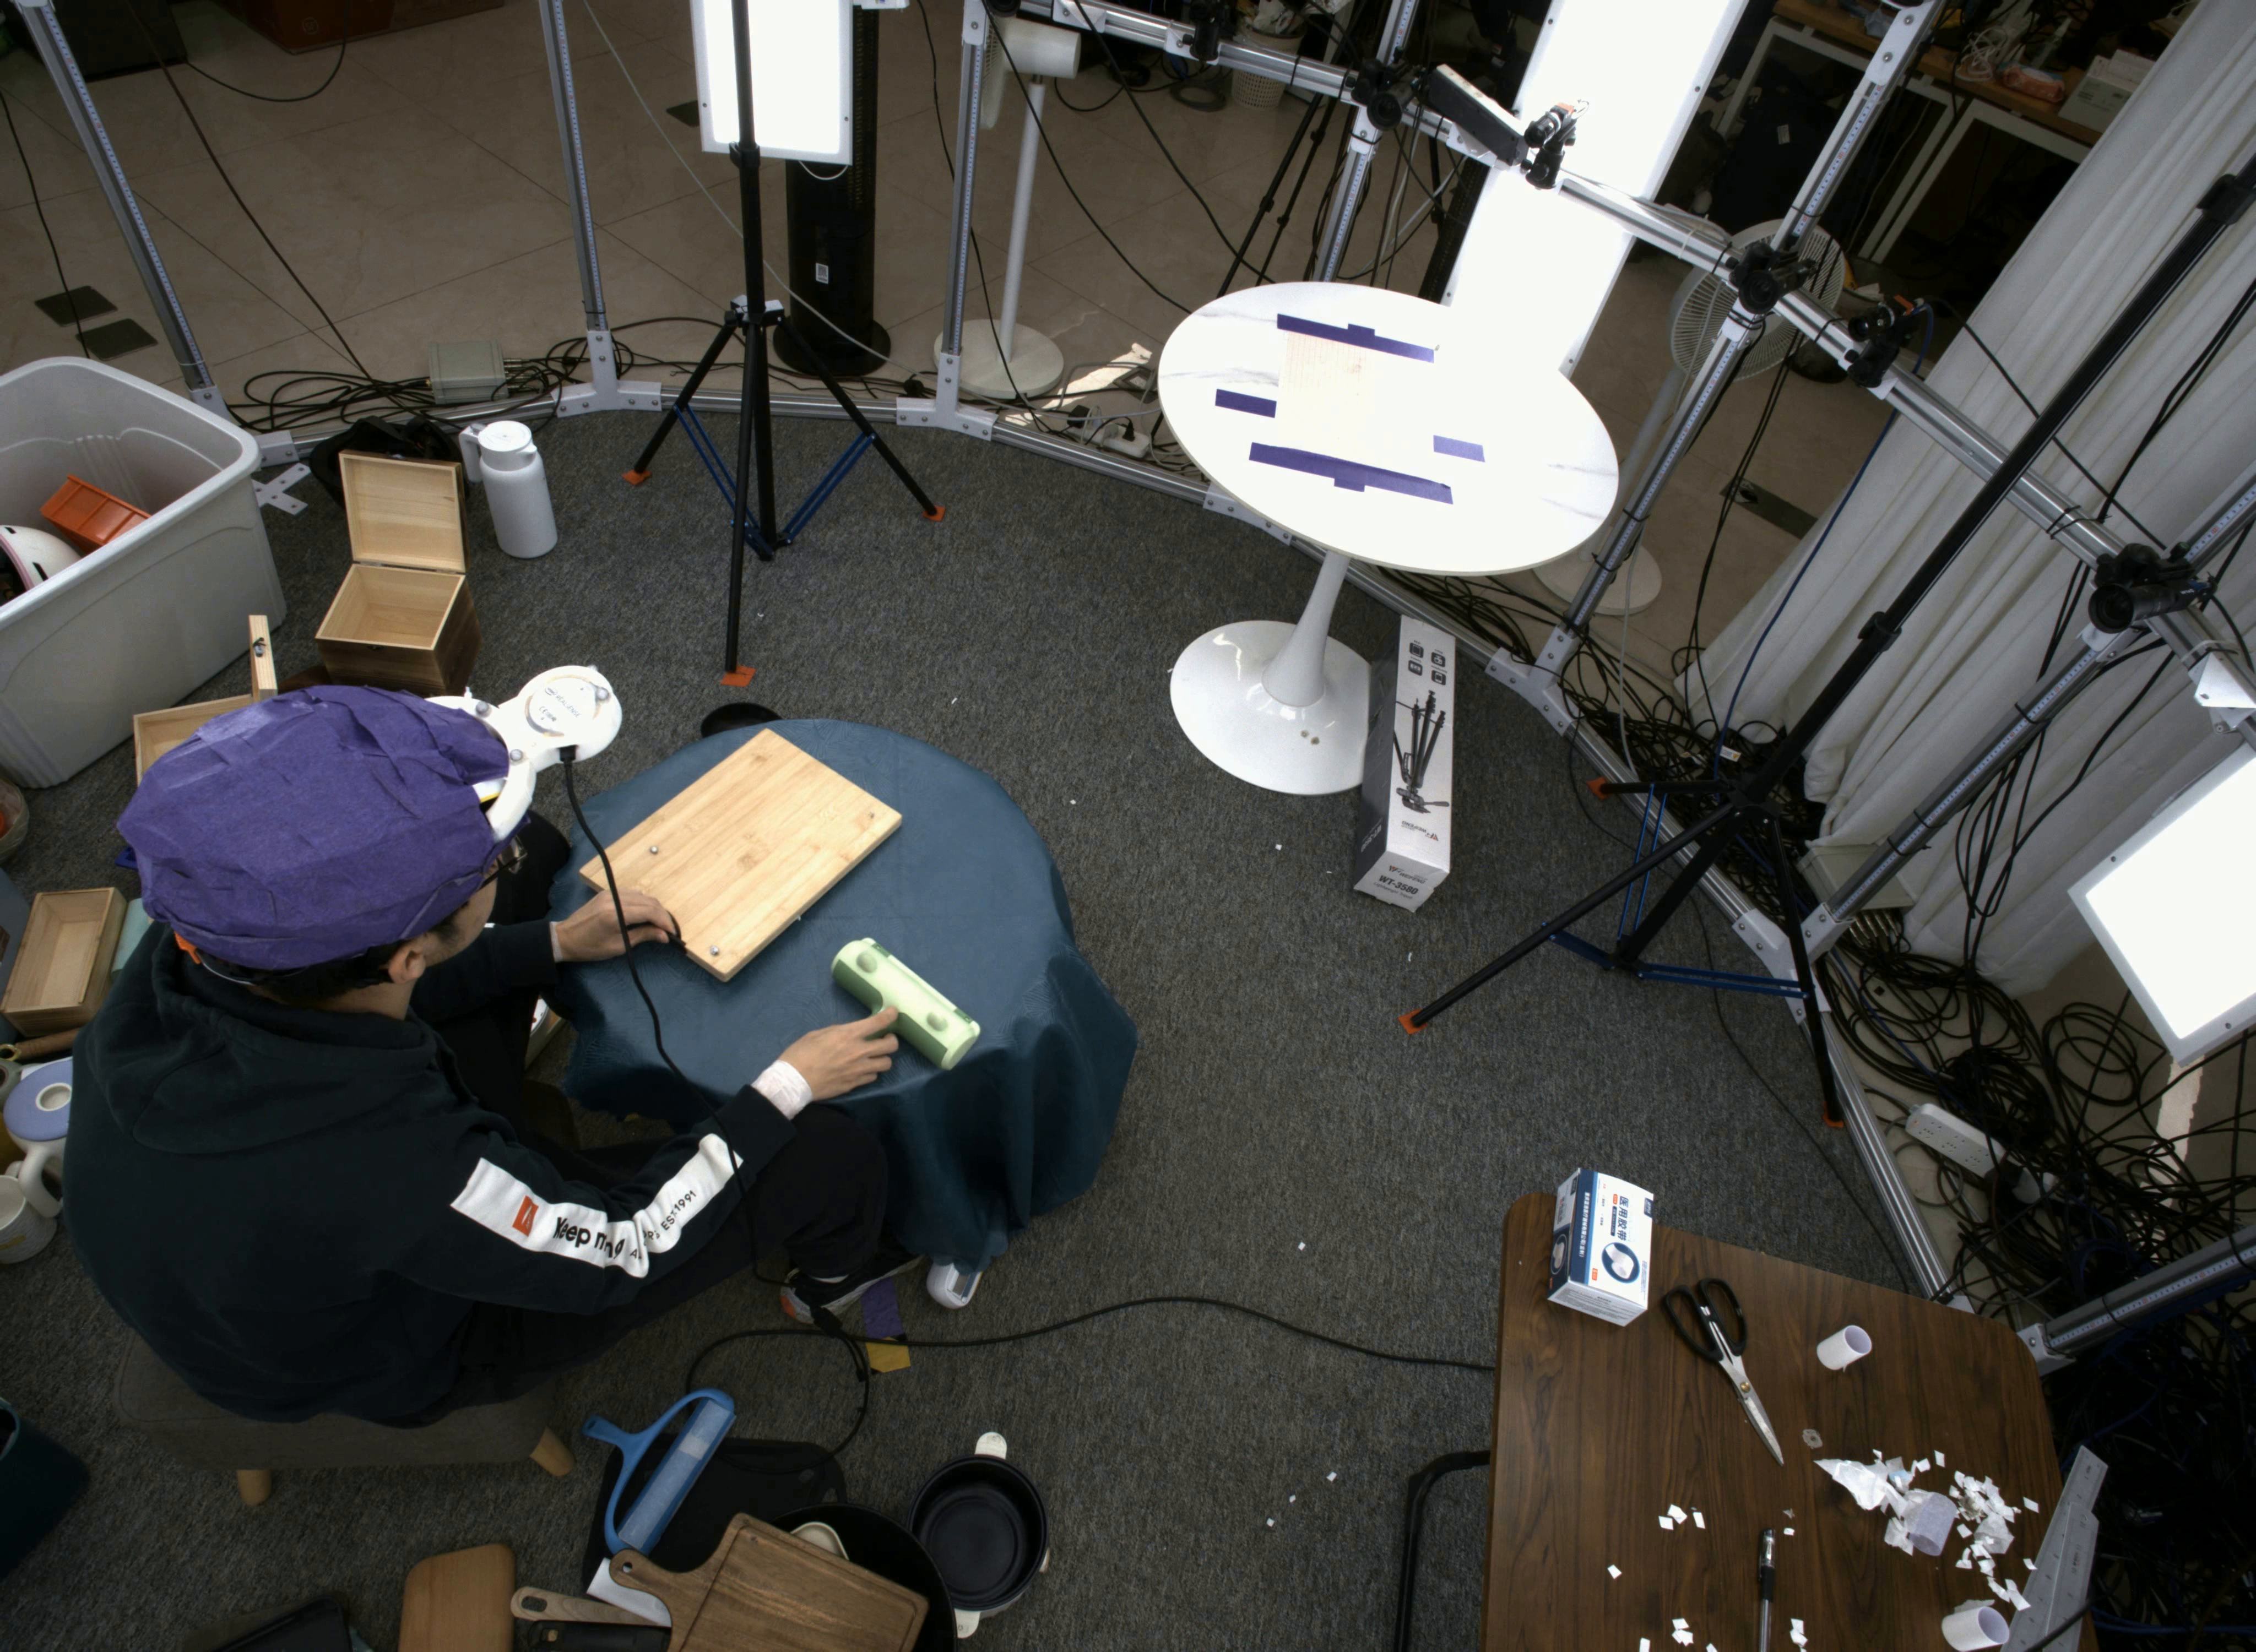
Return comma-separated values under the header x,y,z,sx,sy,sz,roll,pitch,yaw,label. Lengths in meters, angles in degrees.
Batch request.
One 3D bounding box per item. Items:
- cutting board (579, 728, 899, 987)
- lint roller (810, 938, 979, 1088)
x,y,z,sx,sy,sz,roll,pitch,yaw,label
-0.495,0.027,1.664,0.246,0.024,0.348,32,48,10,cutting board
-0.303,0.232,1.533,0.194,0.084,0.183,37,45,14,lint roller
